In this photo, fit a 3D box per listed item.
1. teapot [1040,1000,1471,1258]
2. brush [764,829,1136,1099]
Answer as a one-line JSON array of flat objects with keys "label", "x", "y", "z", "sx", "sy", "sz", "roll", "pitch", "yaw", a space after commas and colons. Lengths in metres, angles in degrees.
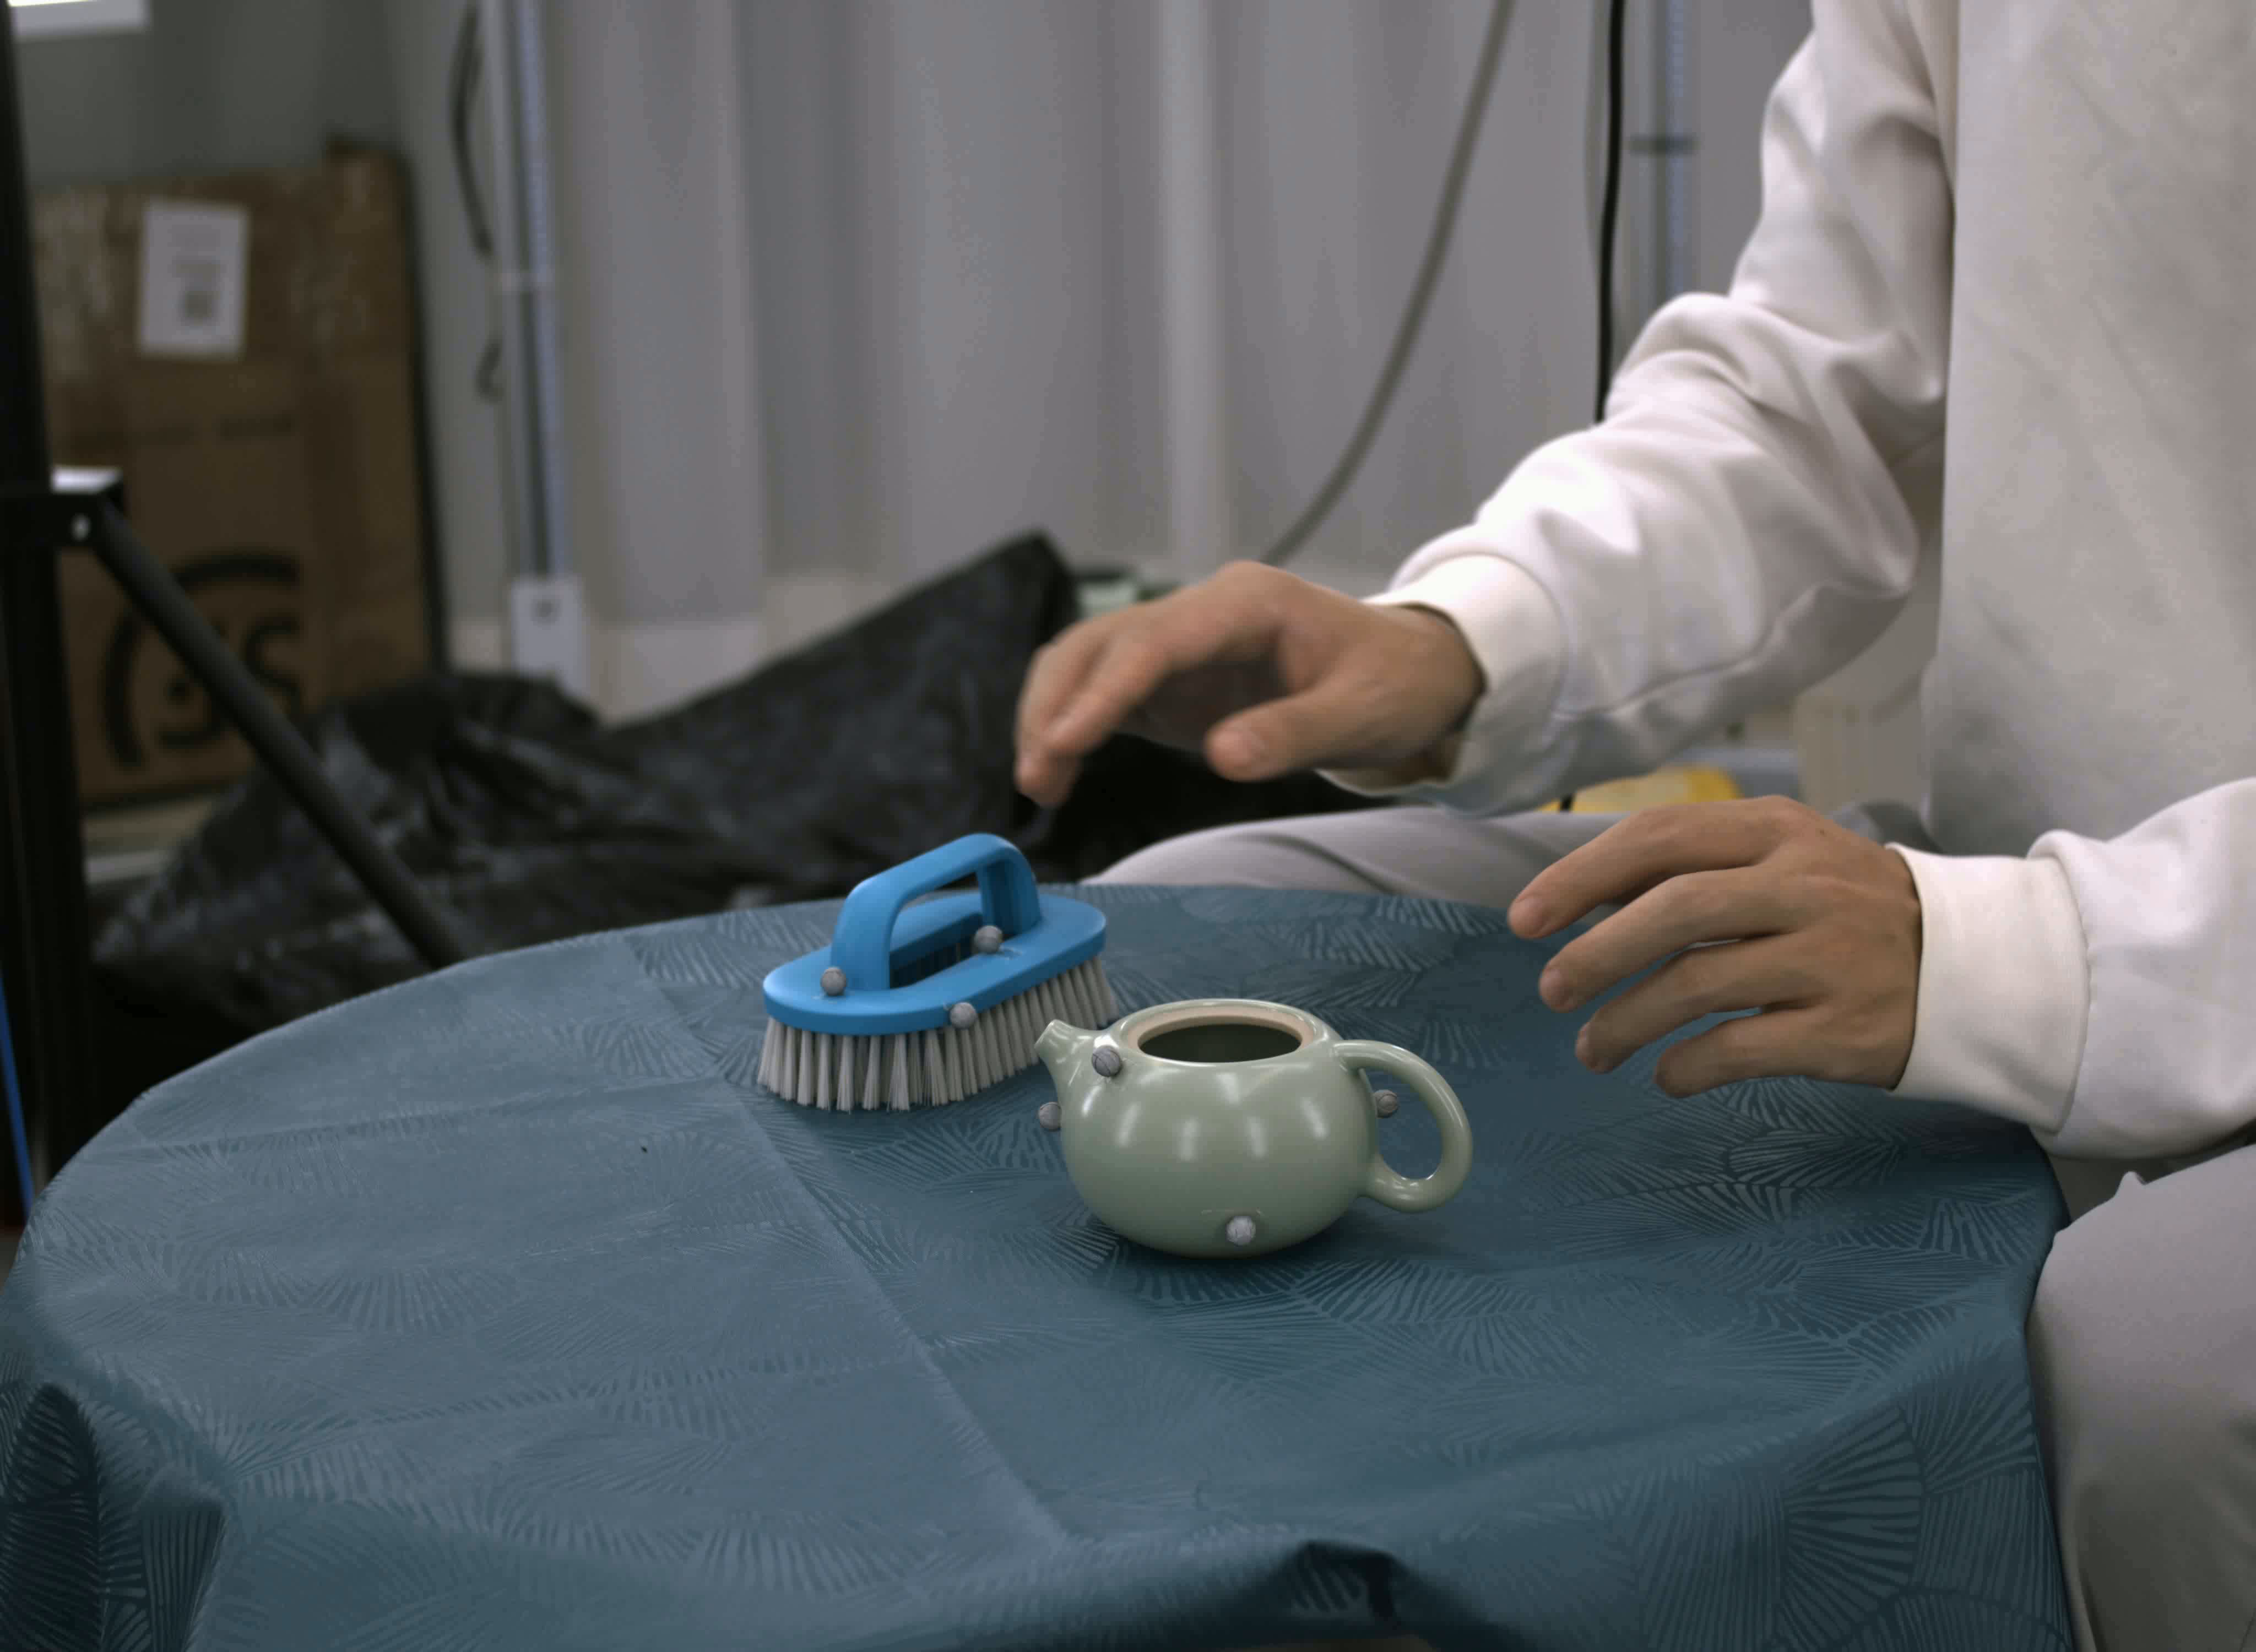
[{"label": "teapot", "x": 0.036, "y": 0.088, "z": 1.518, "sx": 0.130, "sy": 0.061, "sz": 0.090, "roll": 5, "pitch": 15, "yaw": 20}, {"label": "brush", "x": -0.060, "y": 0.039, "z": 1.693, "sx": 0.086, "sy": 0.064, "sz": 0.139, "roll": 2, "pitch": 15, "yaw": 36}]
